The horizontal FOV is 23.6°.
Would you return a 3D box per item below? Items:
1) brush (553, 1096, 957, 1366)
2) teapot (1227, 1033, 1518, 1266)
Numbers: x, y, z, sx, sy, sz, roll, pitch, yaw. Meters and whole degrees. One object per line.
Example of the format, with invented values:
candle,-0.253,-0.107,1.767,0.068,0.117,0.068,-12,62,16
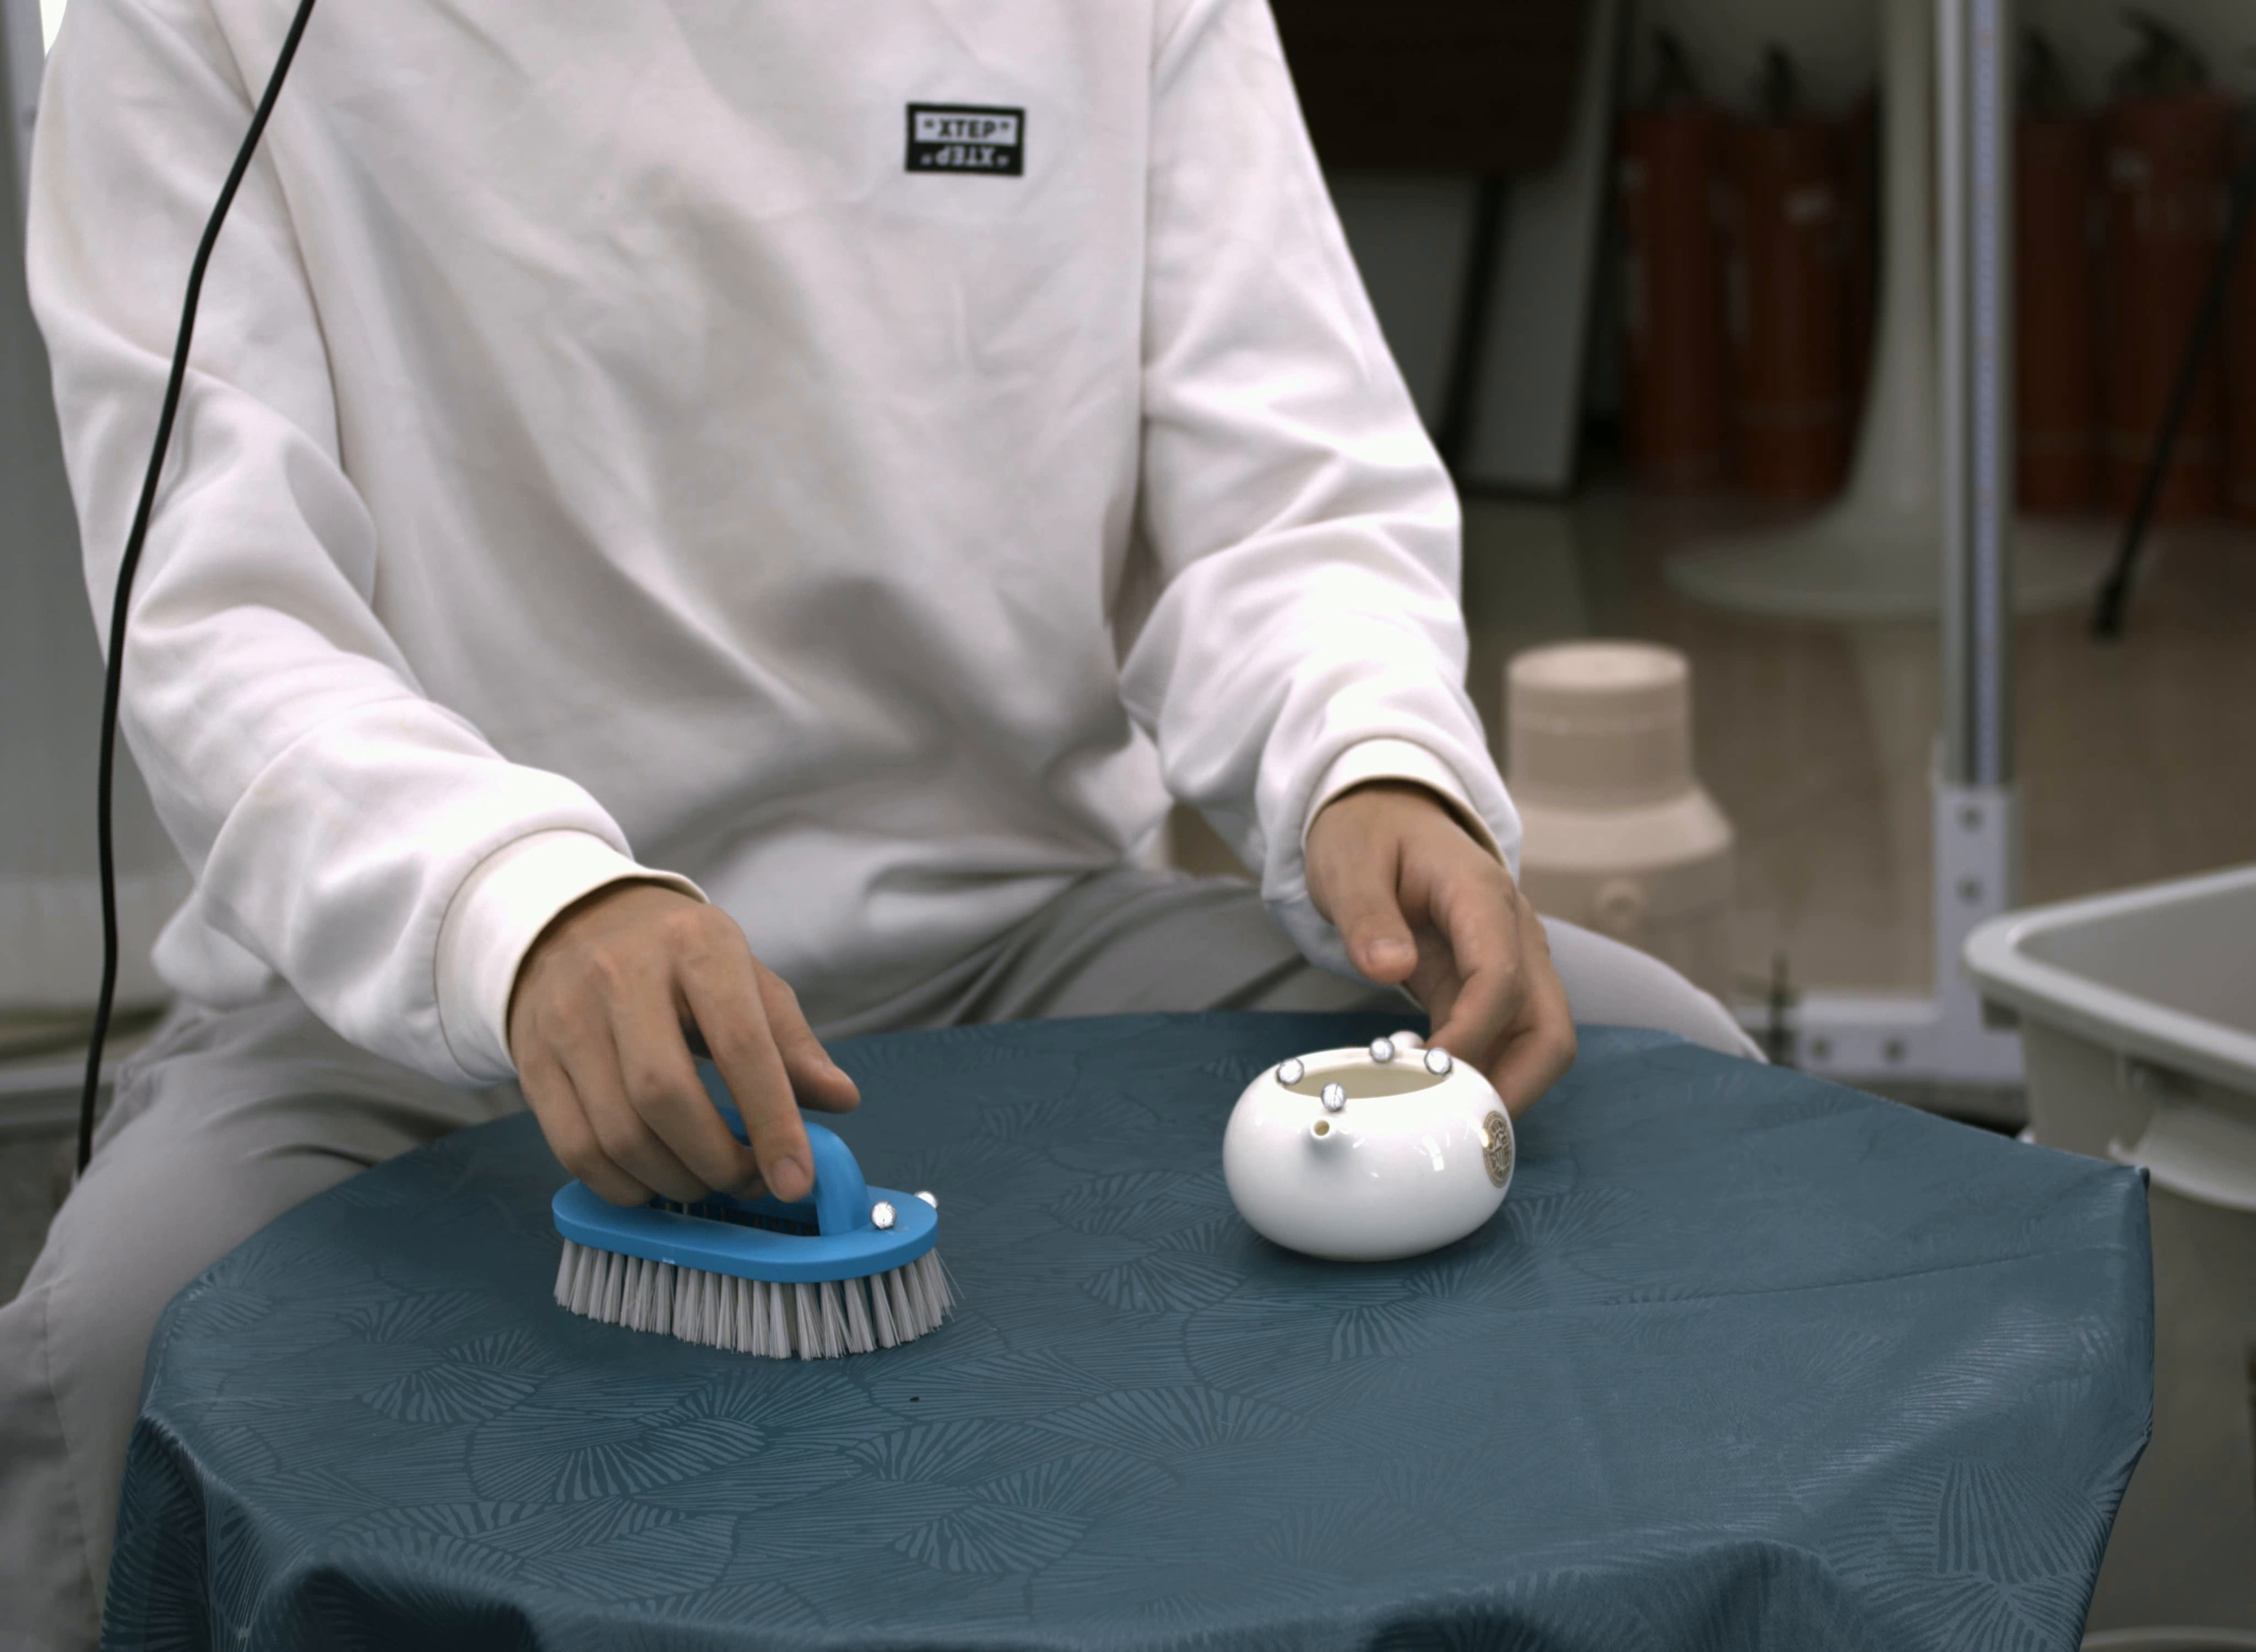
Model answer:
brush,-0.120,0.119,1.680,0.143,0.064,0.083,7,21,39
teapot,0.080,0.103,1.716,0.093,0.057,0.126,-5,11,15
